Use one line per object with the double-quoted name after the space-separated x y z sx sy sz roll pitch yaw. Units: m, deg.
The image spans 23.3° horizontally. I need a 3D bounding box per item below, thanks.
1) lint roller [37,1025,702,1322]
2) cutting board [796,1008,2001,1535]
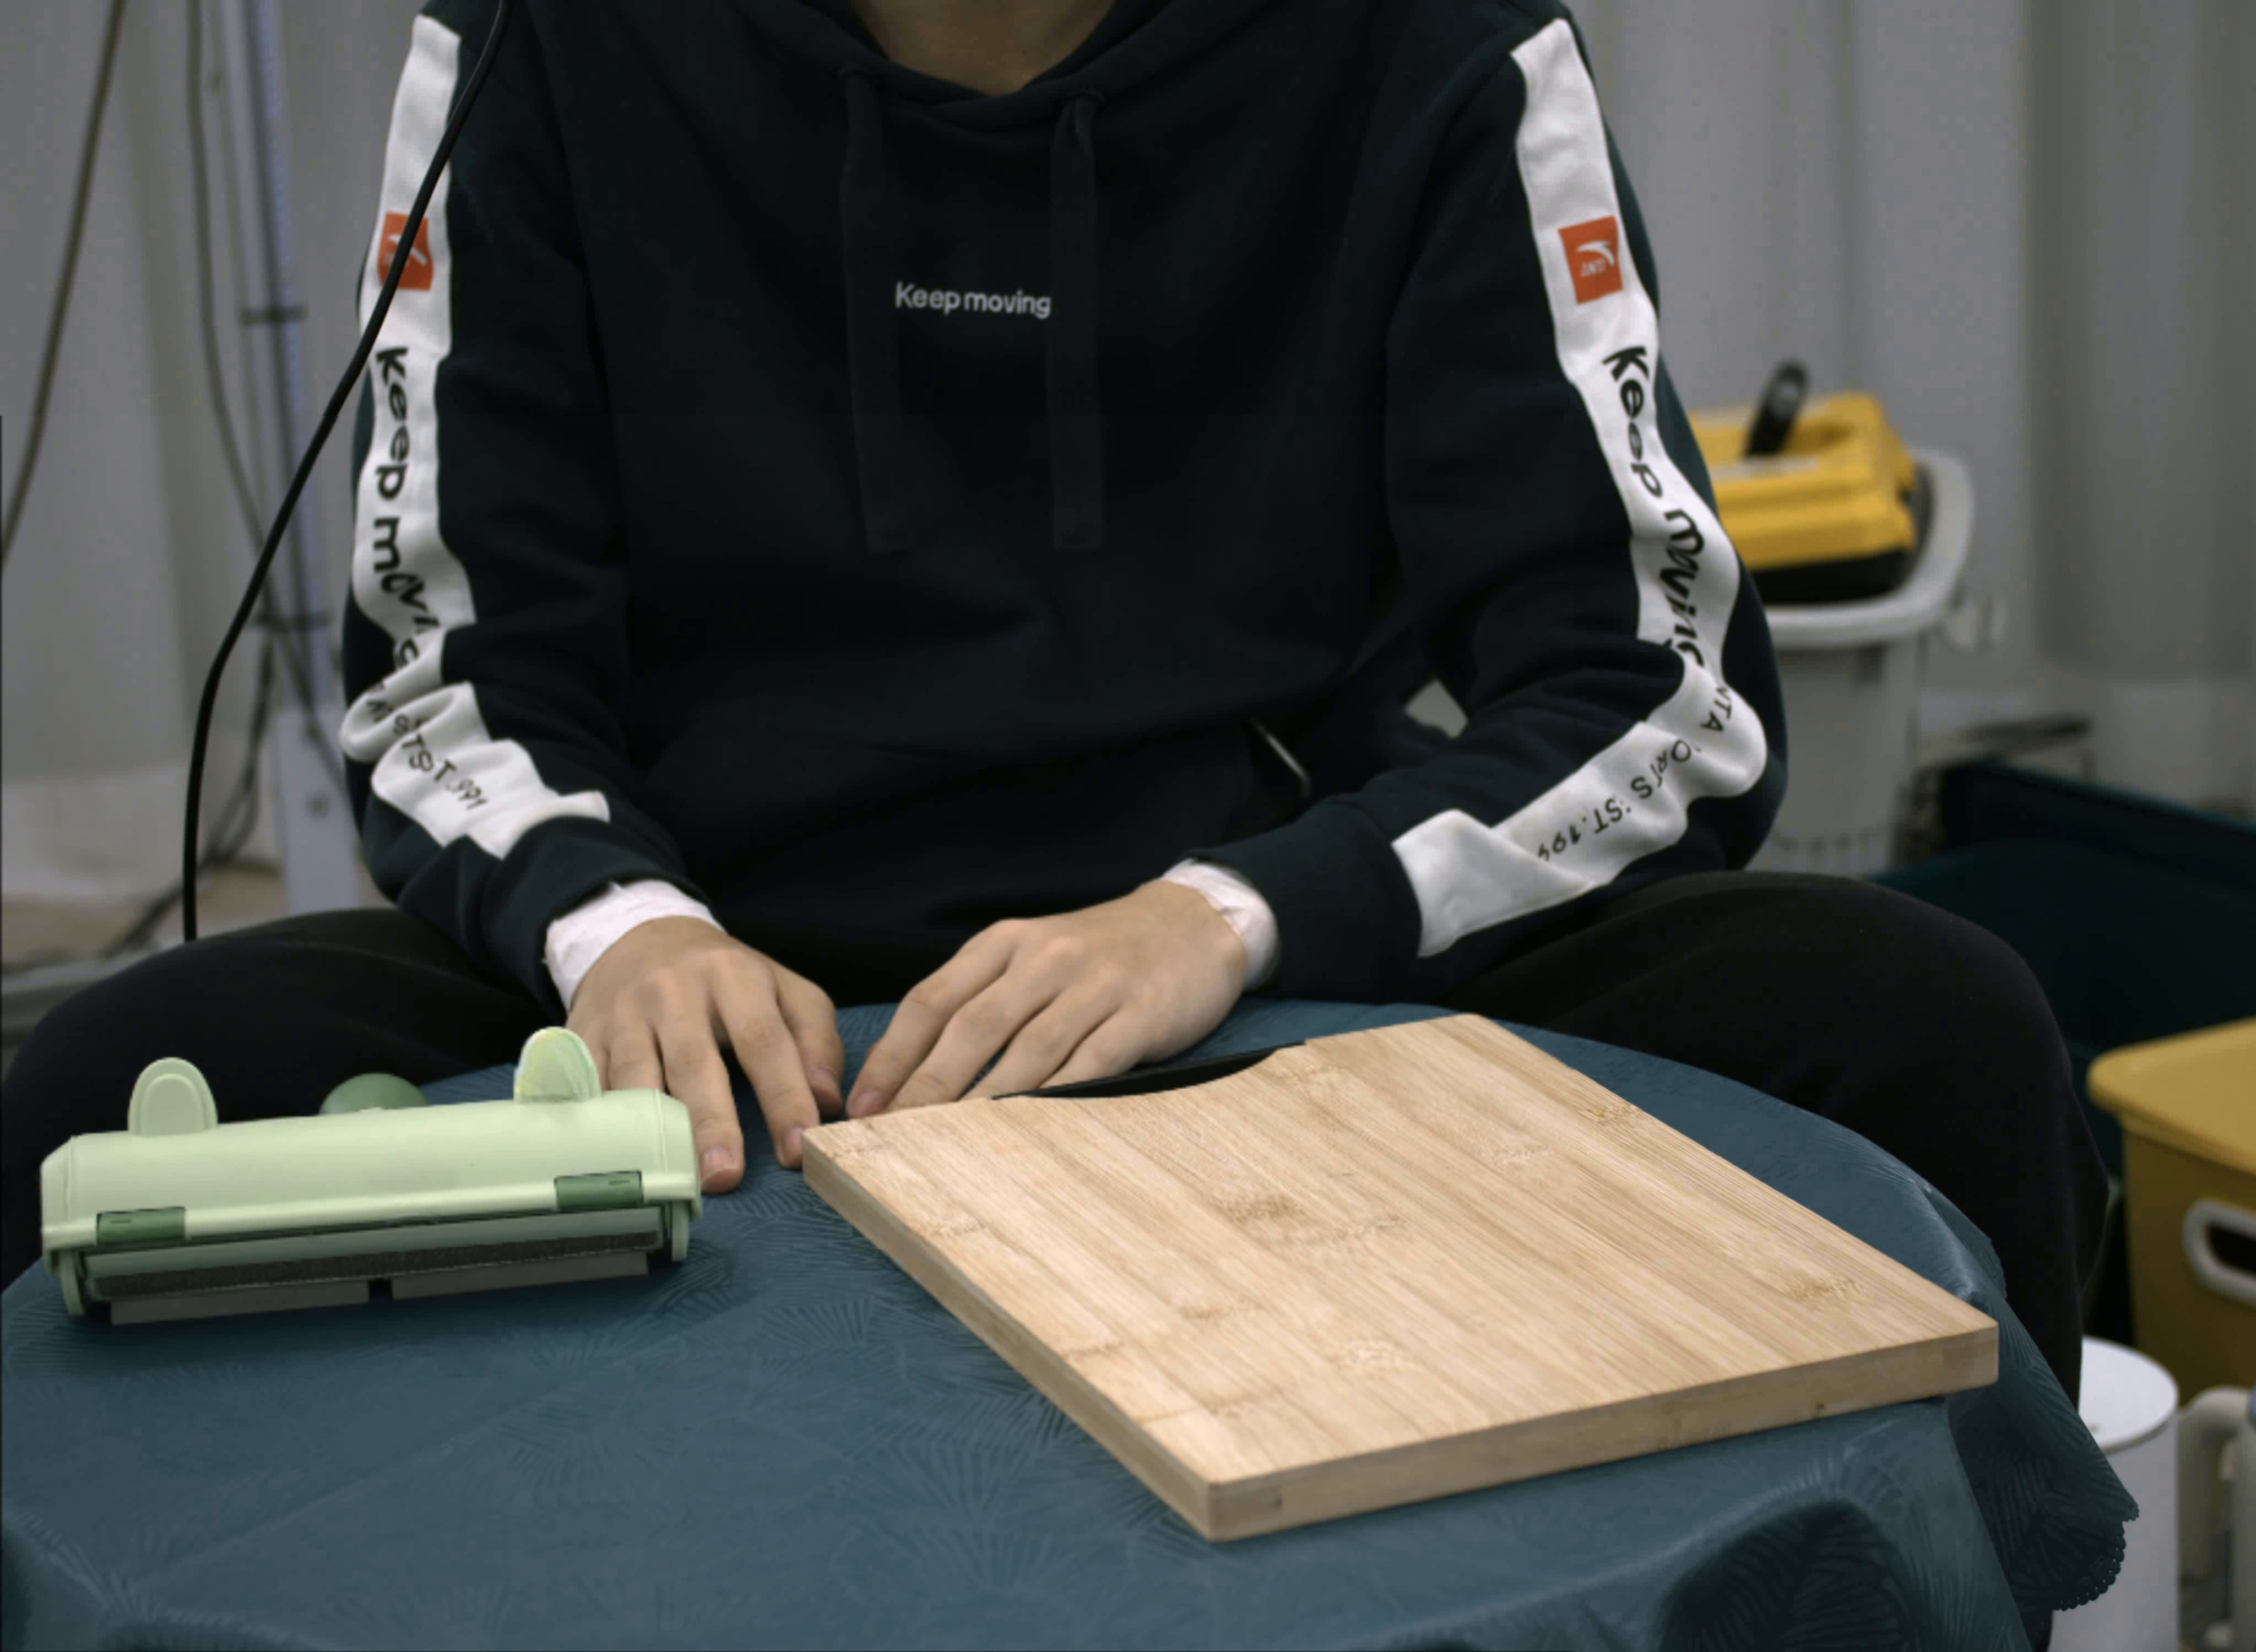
-0.236 0.090 1.707 0.198 0.082 0.185 -5 19 -6 "lint roller"
0.068 0.126 1.629 0.249 0.023 0.351 -9 16 -21 "cutting board"
